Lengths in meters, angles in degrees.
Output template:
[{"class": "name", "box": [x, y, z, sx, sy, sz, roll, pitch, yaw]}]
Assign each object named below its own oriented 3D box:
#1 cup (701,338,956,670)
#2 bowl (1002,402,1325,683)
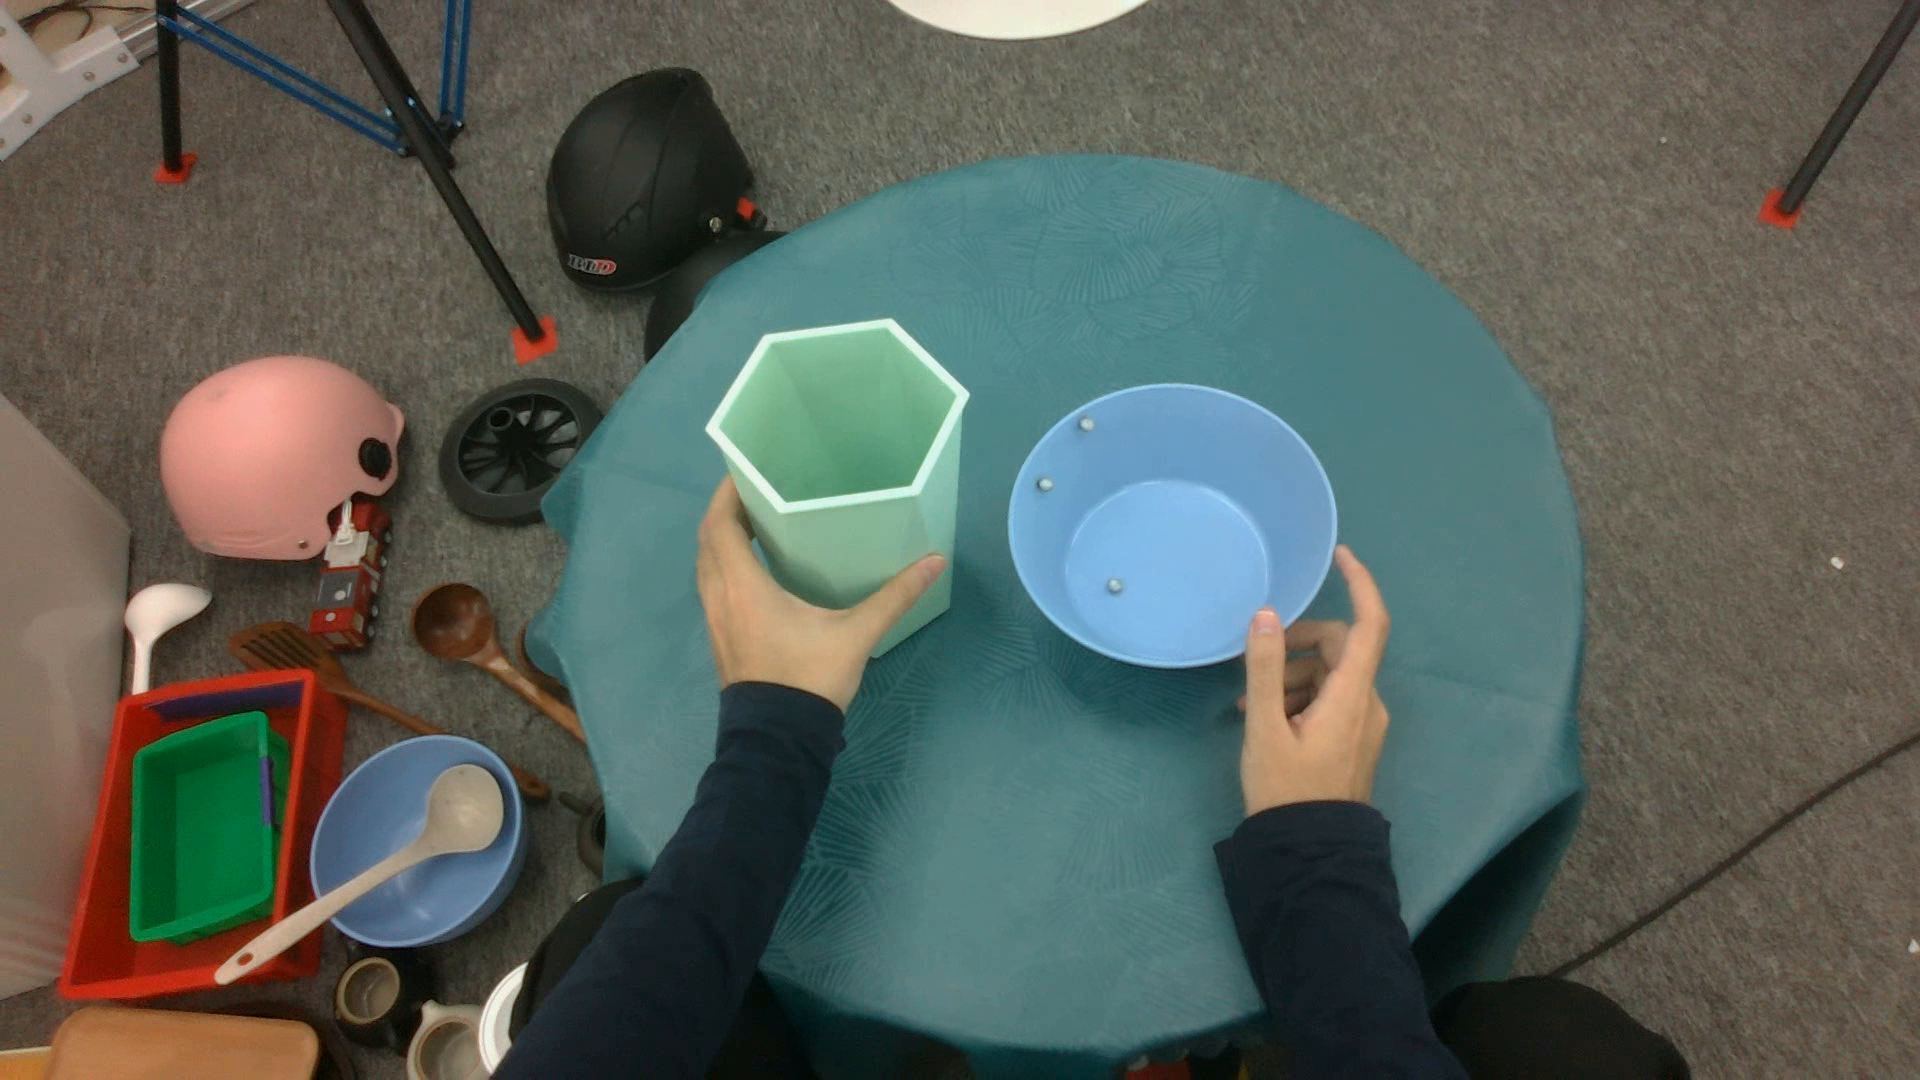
[{"class": "cup", "box": [-0.061, -0.011, 0.756, 0.131, 0.162, 0.115, -12, 57, -4]}, {"class": "bowl", "box": [0.114, 0.012, 0.781, 0.176, 0.070, 0.177, -3, 60, 6]}]
